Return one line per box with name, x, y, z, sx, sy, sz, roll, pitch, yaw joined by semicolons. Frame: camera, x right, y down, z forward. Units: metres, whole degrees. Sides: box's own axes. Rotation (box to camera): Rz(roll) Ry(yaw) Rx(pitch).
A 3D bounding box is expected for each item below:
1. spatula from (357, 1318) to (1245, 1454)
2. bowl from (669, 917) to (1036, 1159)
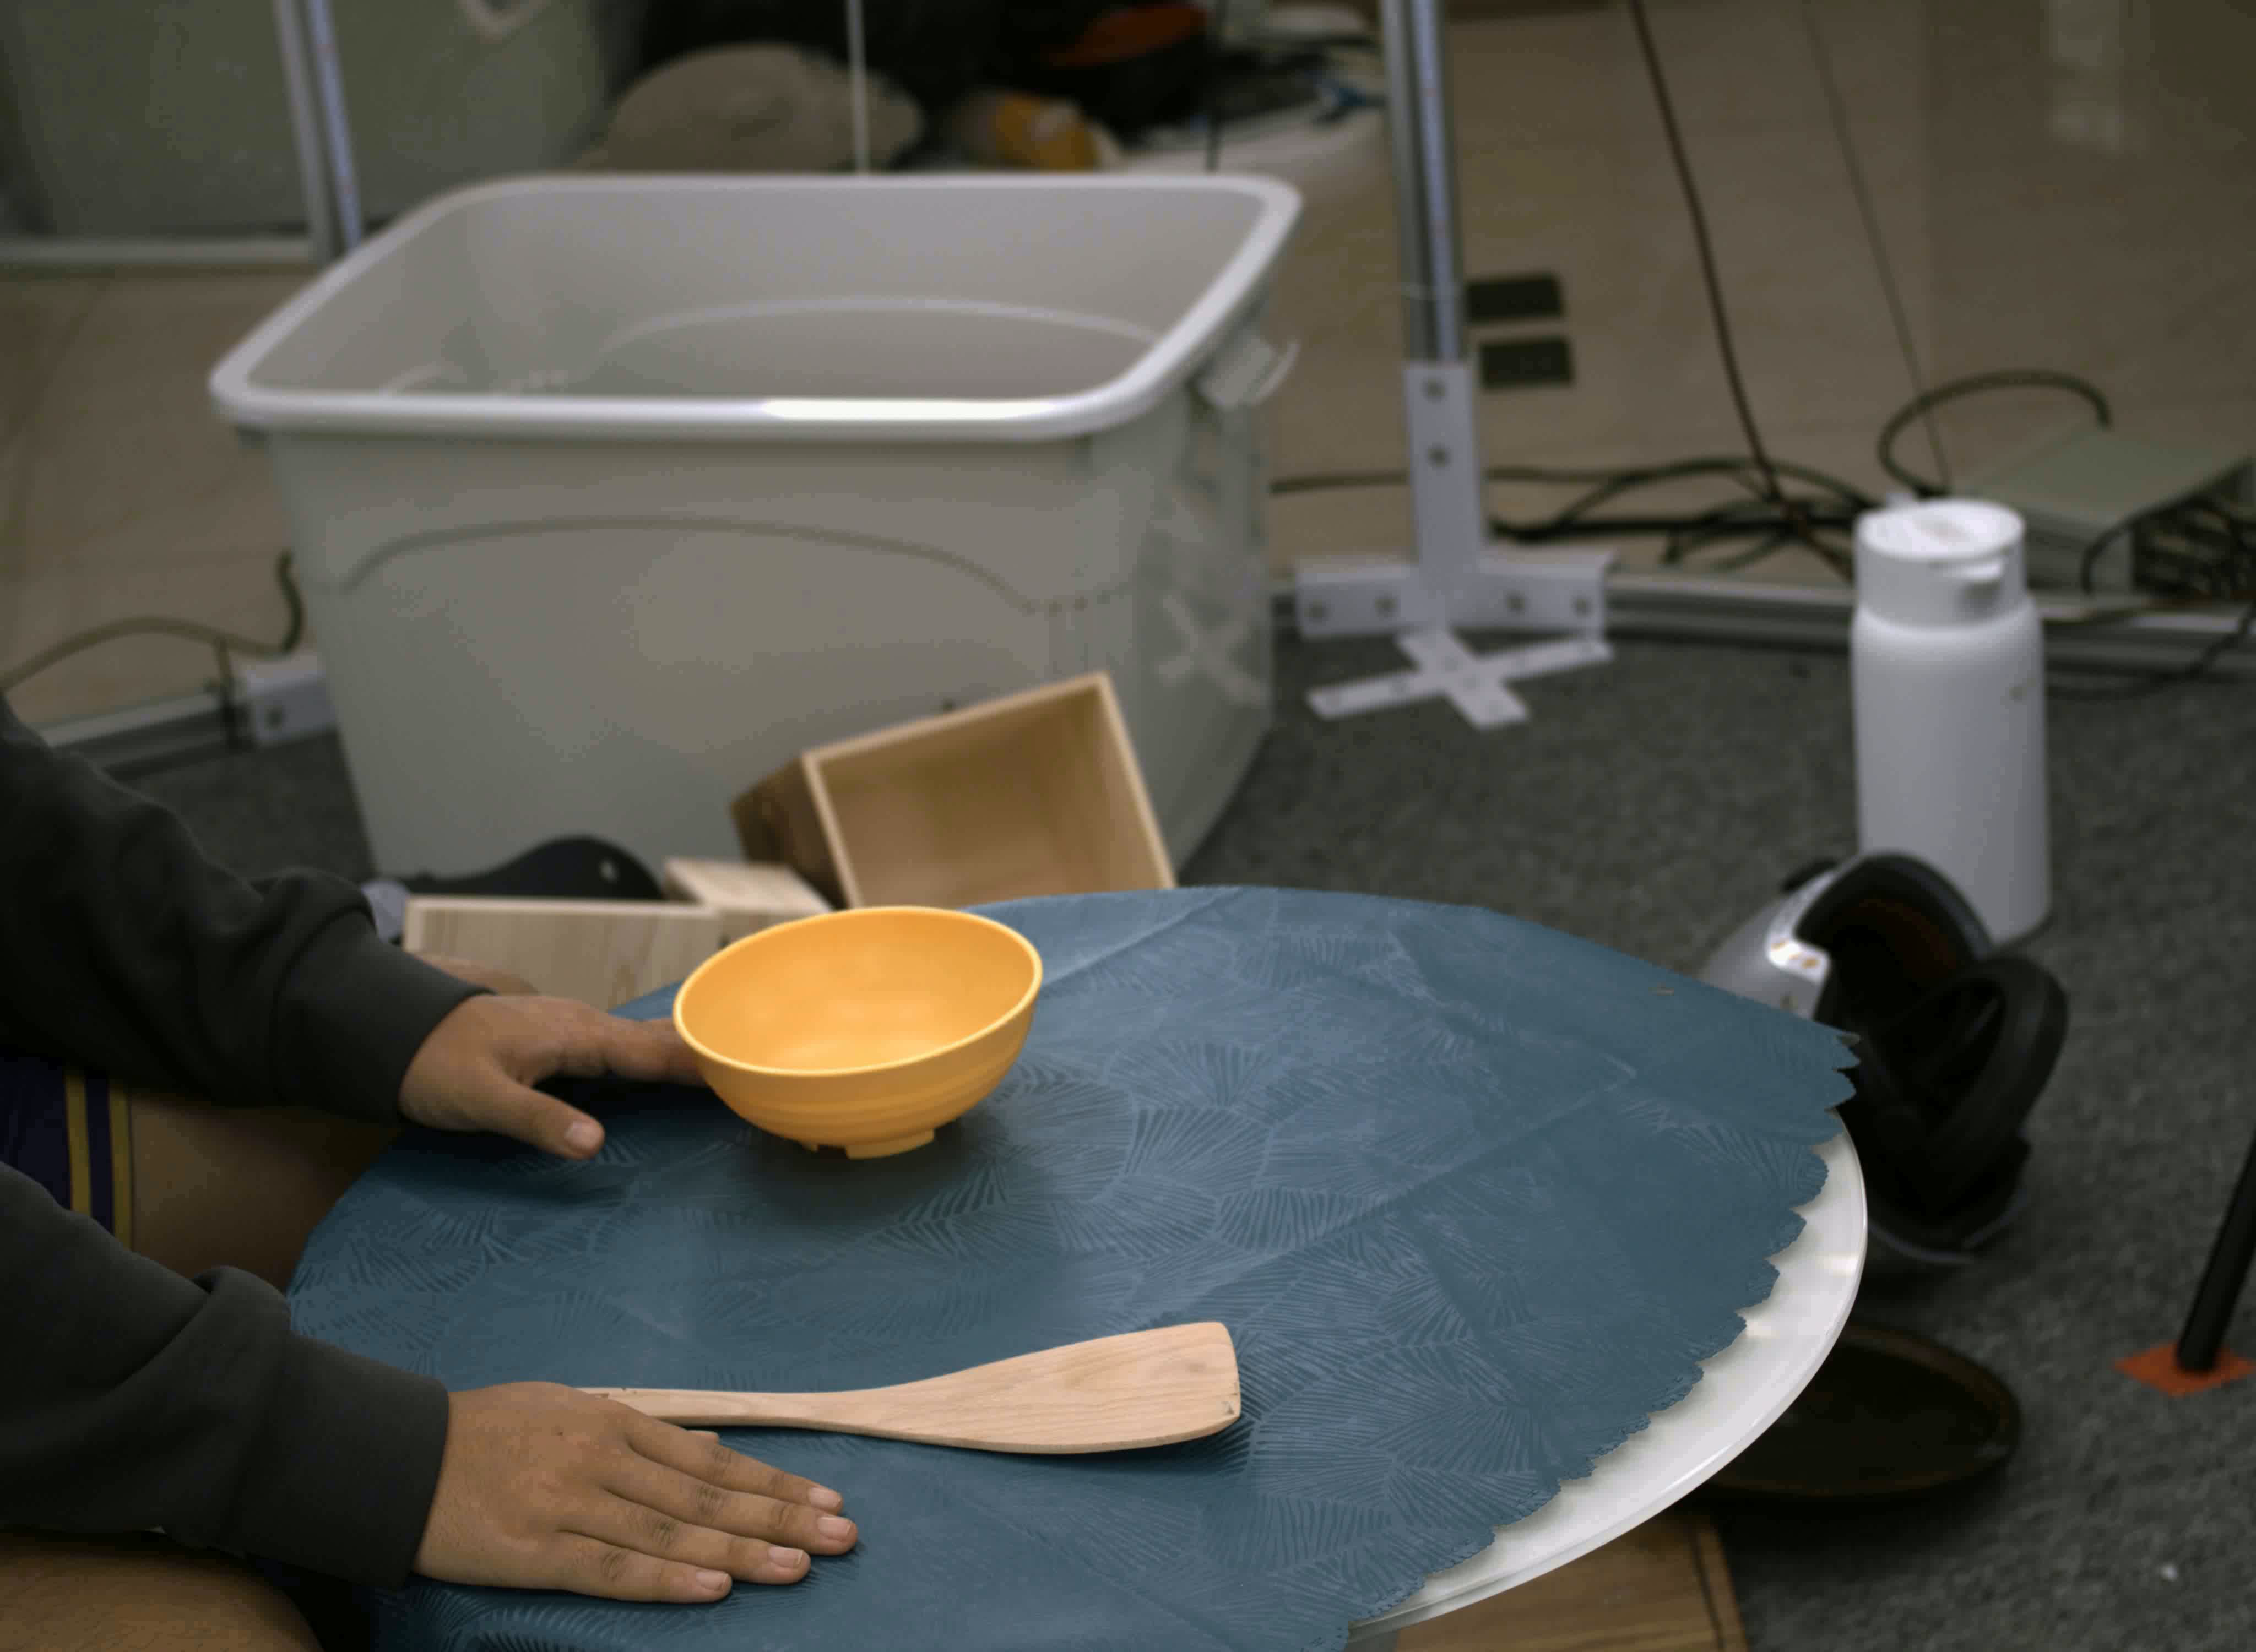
spatula;-0.116;0.203;2.019;0.327;0.017;0.079;-3;25;9
bowl;-0.105;0.090;2.209;0.145;0.061;0.143;-5;23;2
